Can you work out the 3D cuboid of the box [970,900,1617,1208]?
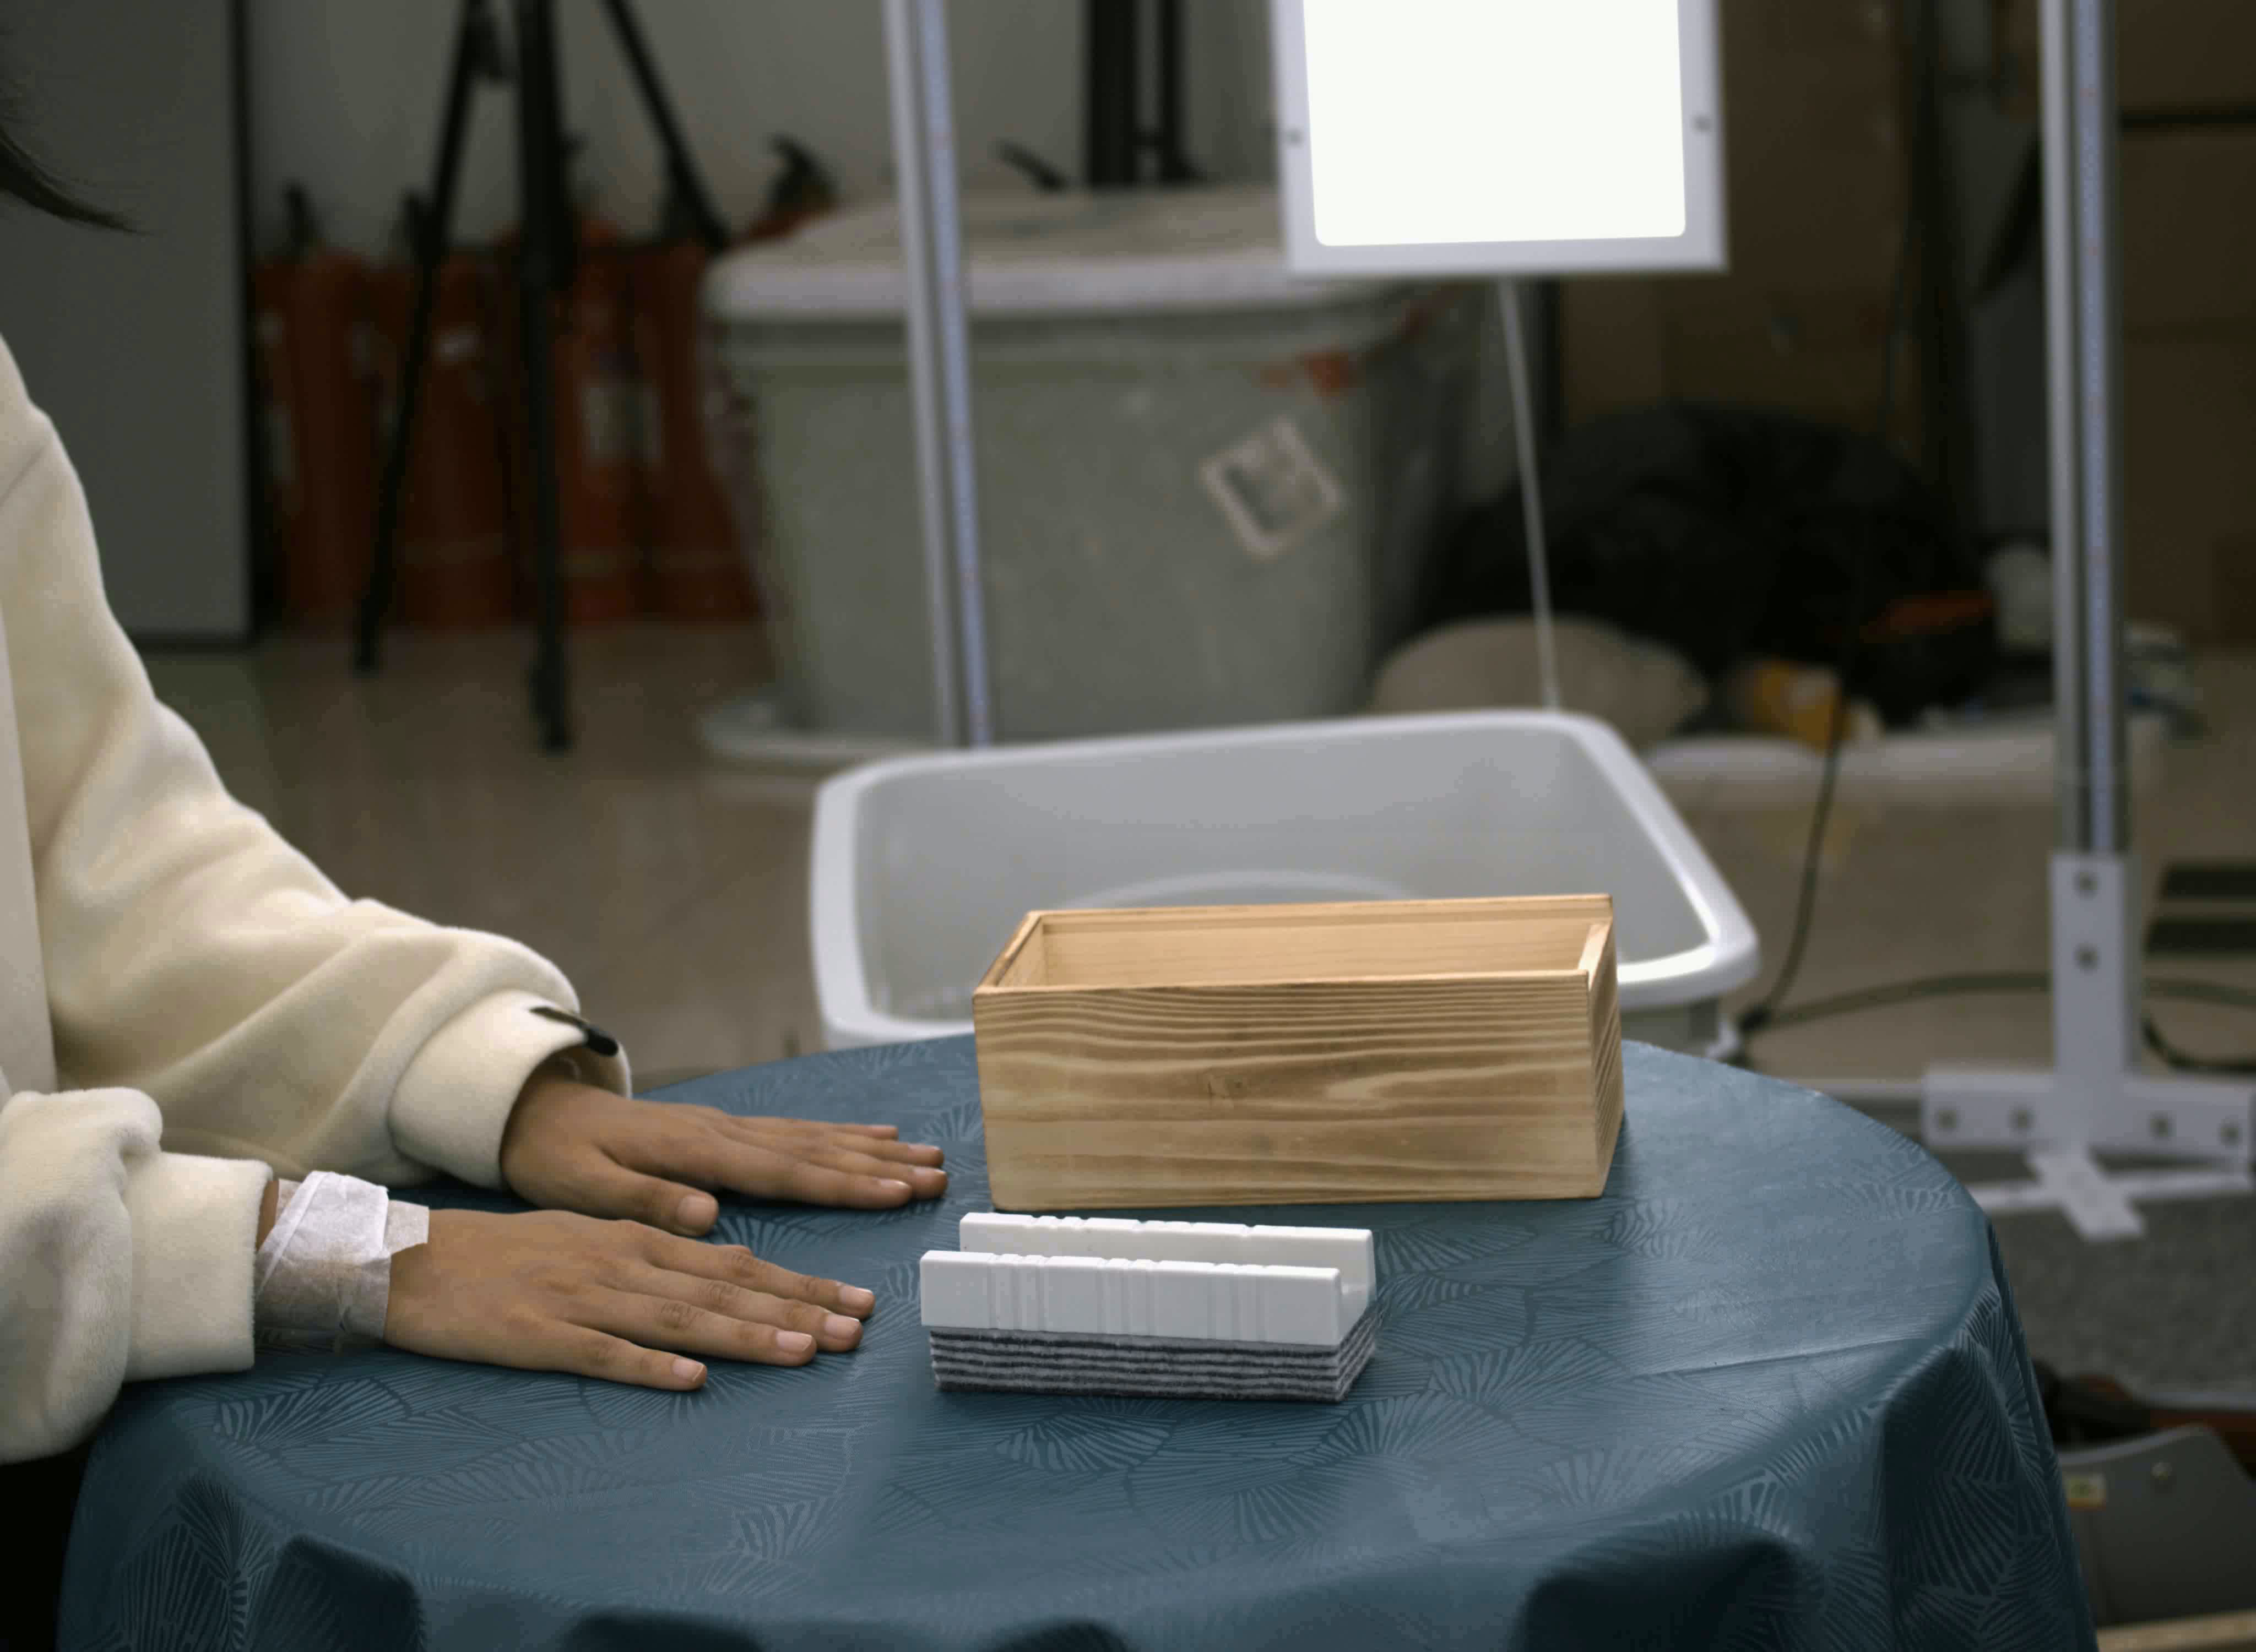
[{"bbox_3d":[0.060,0.078,1.907,0.213,0.080,0.106,-2,14,11],"label":"box"}]

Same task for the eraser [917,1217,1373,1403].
[{"bbox_3d":[0.006,0.149,1.706,0.136,0.047,0.049,1,17,17],"label":"eraser"}]
